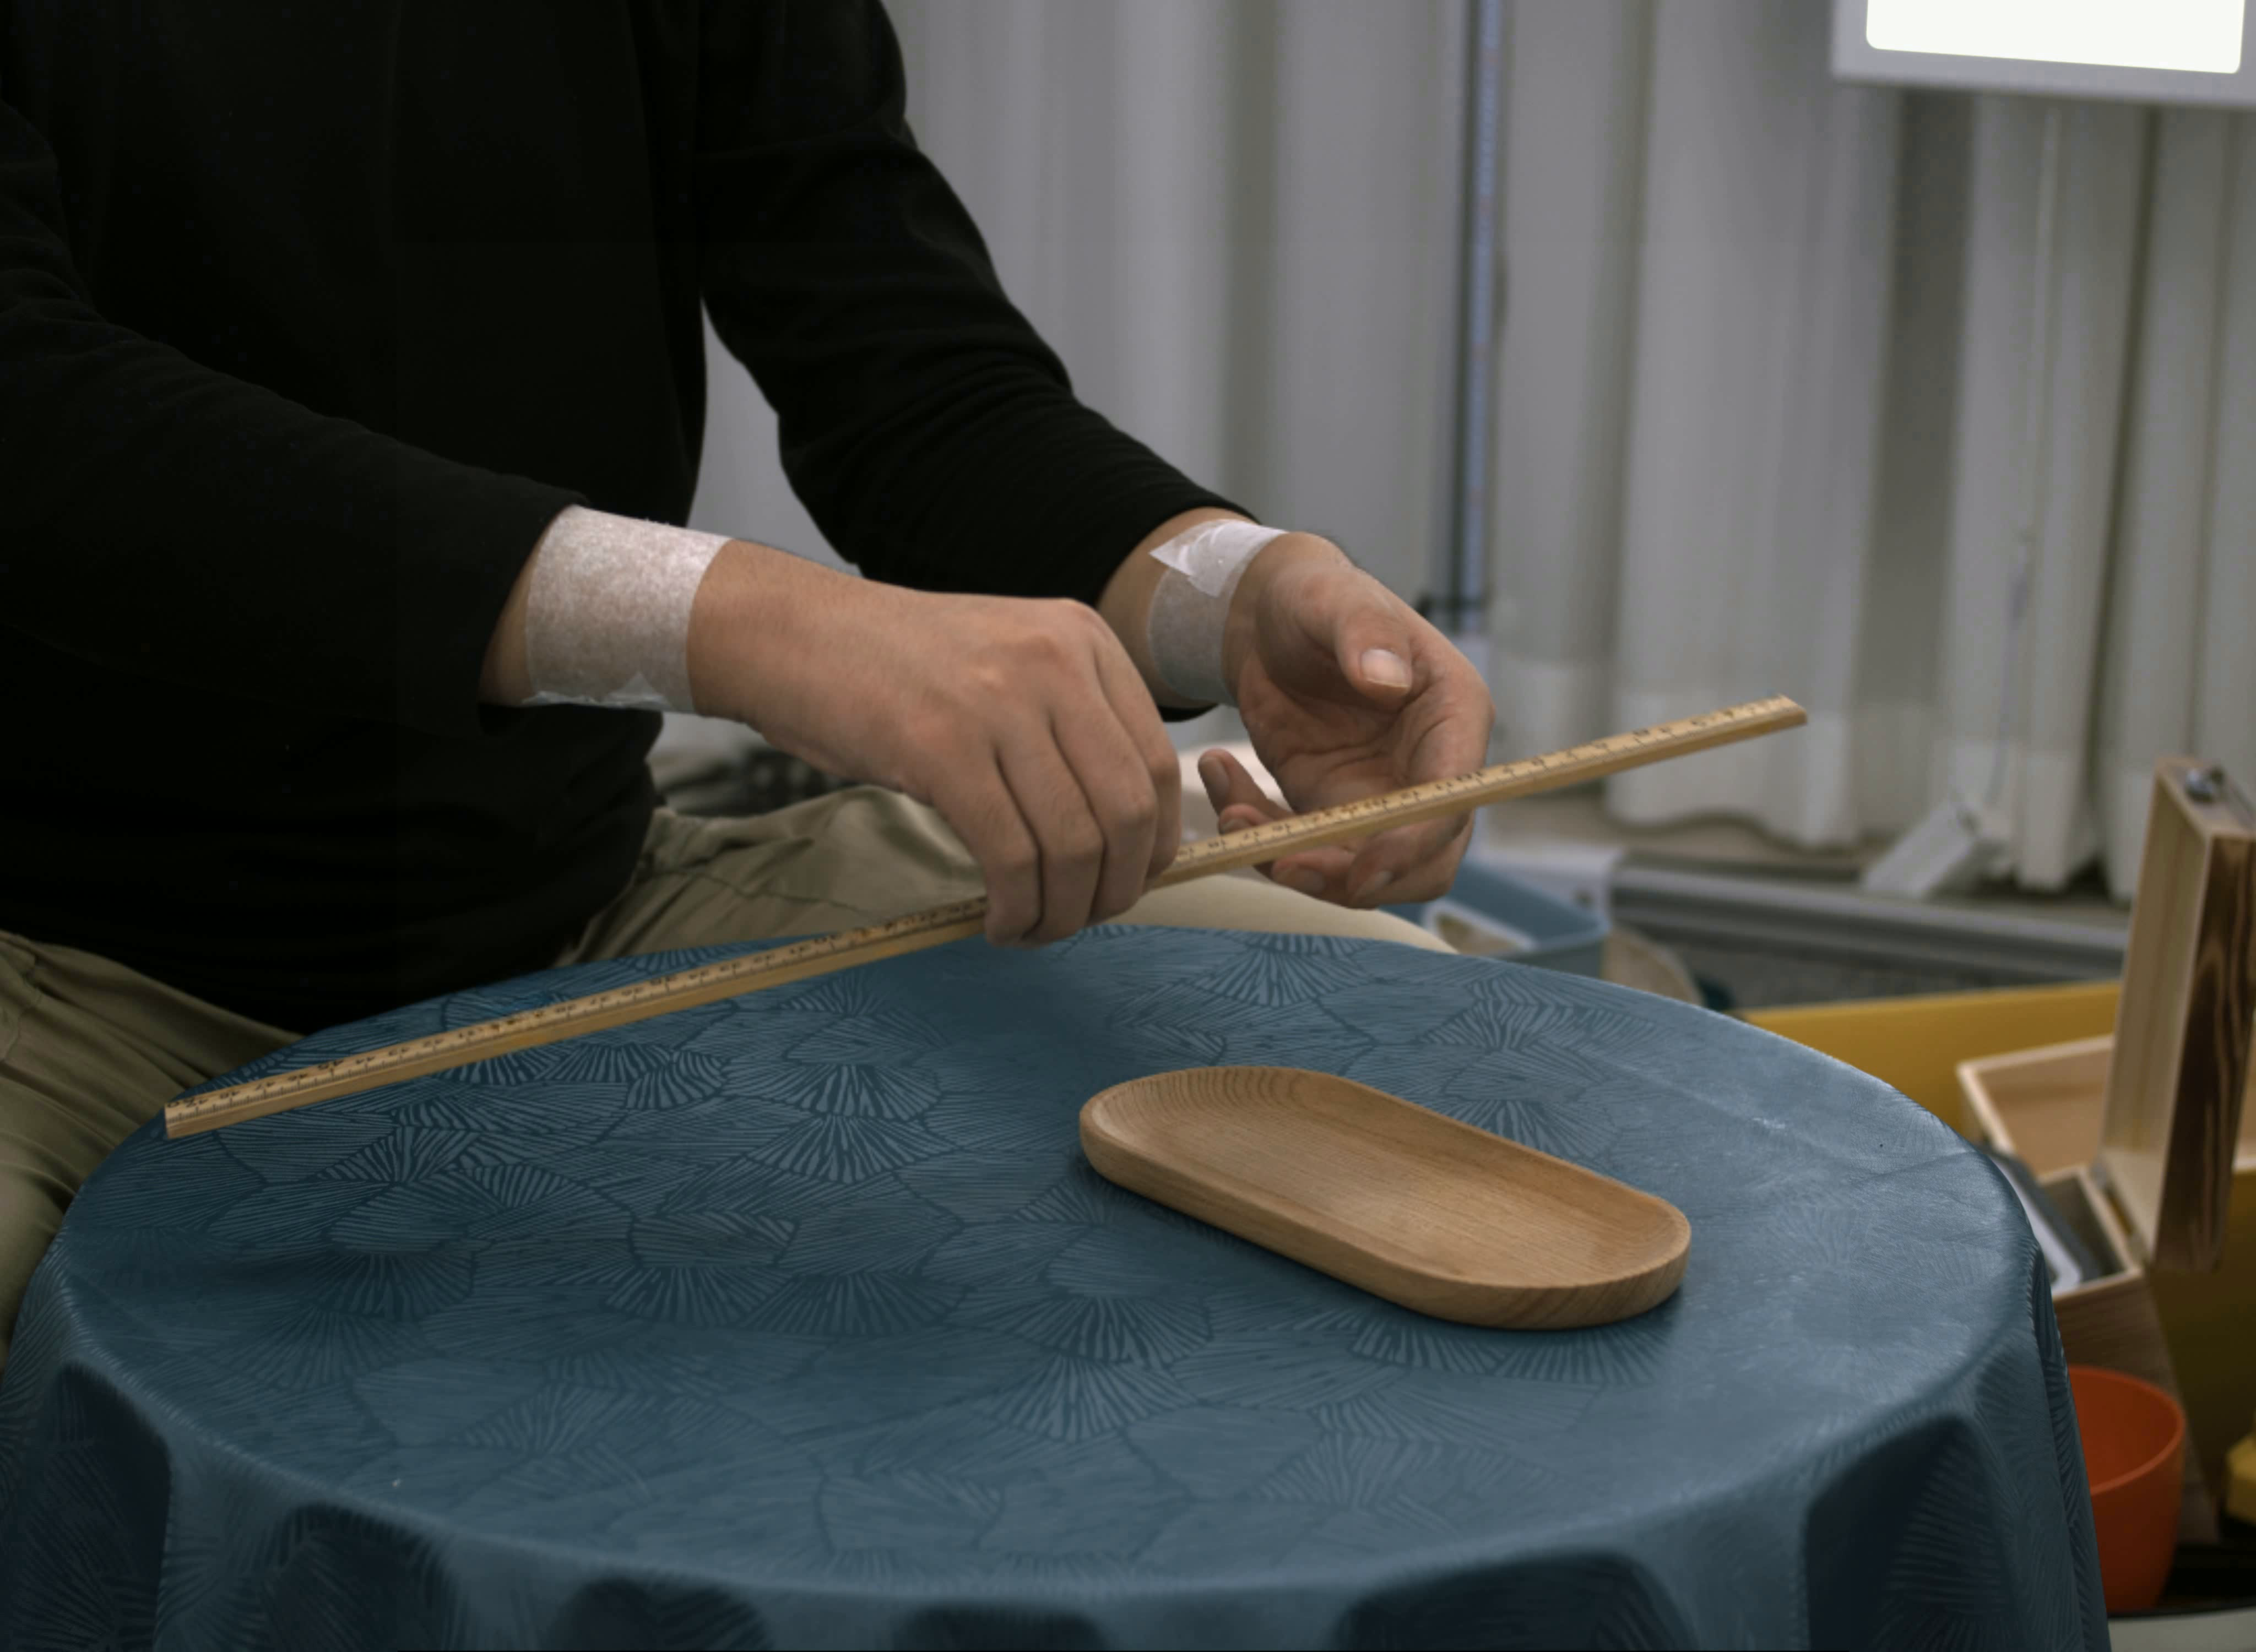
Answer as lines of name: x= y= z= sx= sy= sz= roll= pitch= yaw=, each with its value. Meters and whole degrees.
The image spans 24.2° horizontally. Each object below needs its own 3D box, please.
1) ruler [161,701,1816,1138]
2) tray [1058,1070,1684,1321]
ruler: x=-0.038 y=0.025 z=1.548 sx=0.500 sy=0.006 sz=0.026 roll=-14 pitch=12 yaw=-6
tray: x=0.071 y=0.110 z=1.599 sx=0.102 sy=0.020 sz=0.228 roll=-10 pitch=17 yaw=-40
